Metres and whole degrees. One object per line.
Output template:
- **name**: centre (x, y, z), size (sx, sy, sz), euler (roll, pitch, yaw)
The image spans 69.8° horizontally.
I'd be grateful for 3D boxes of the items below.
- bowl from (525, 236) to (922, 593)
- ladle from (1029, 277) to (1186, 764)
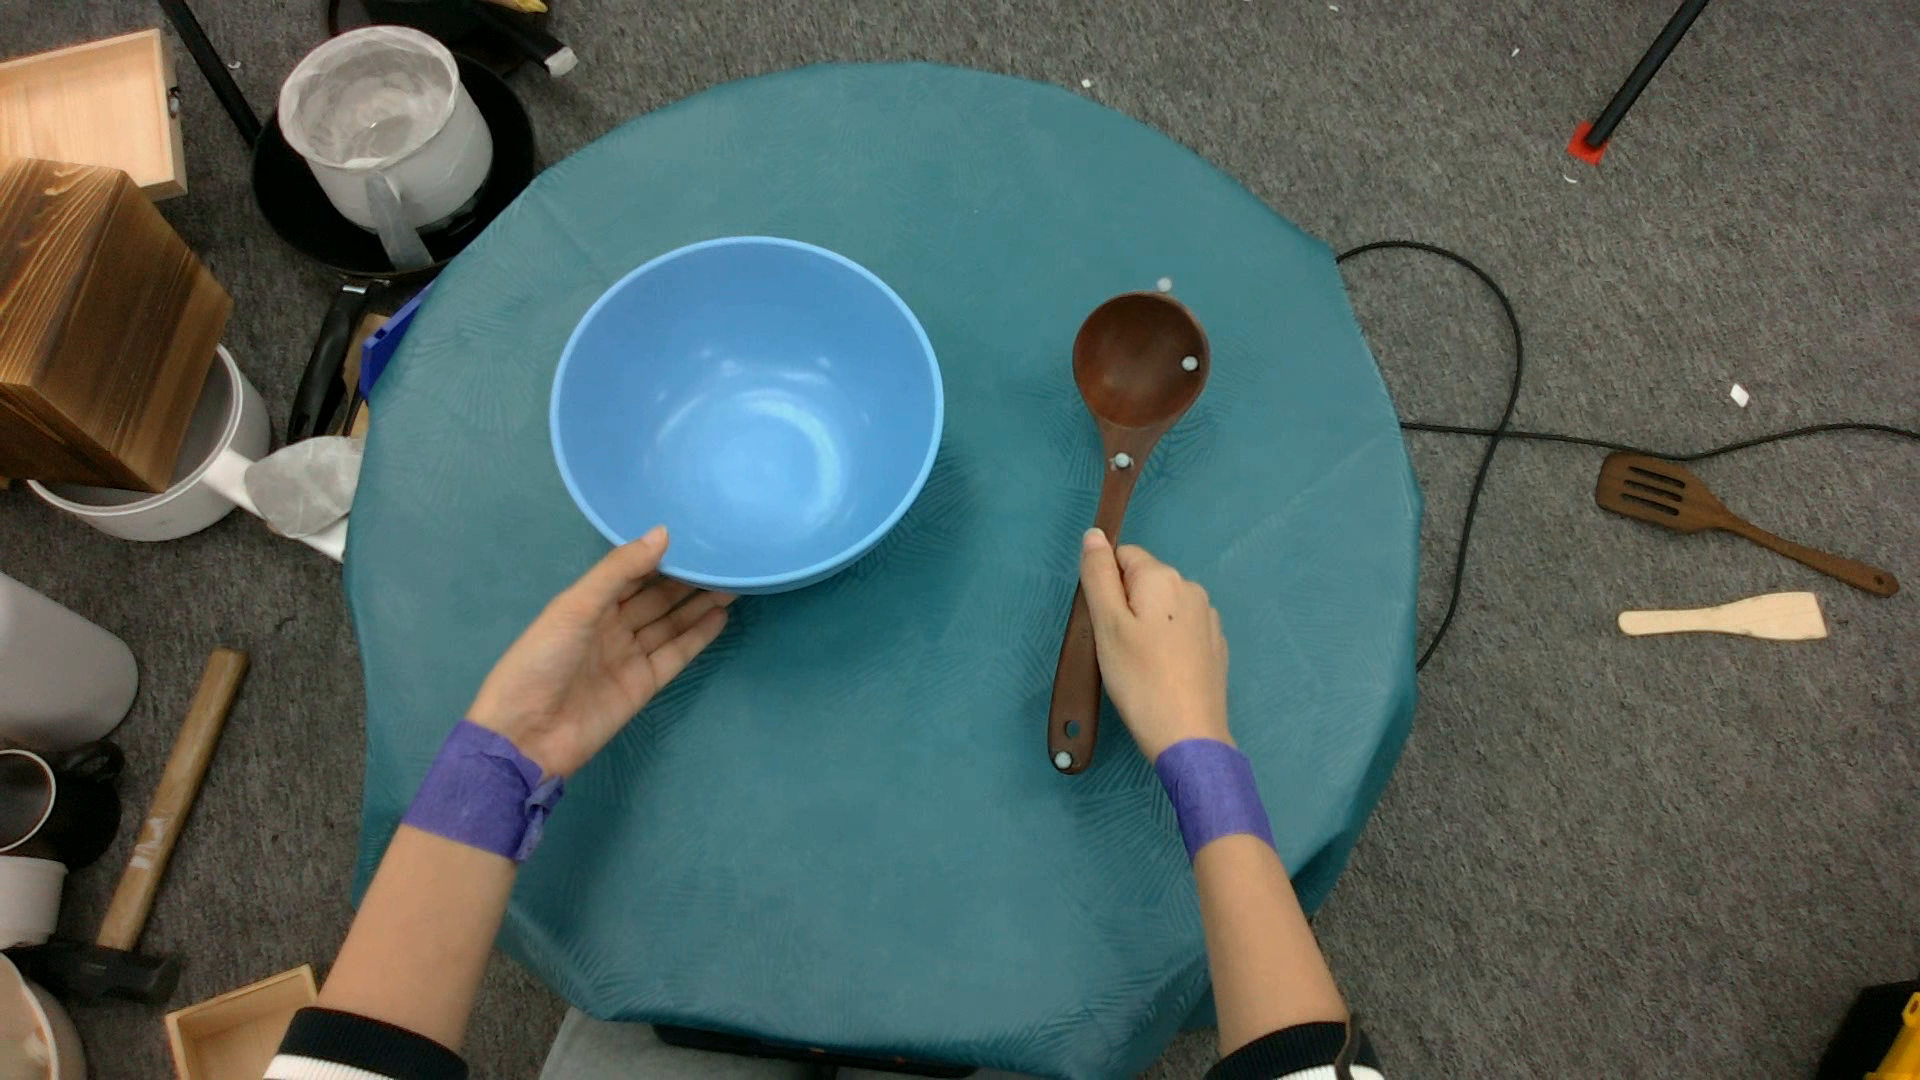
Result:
- **bowl**: centre (-0.123, -0.053, 0.730), size (0.196, 0.095, 0.197), euler (4, 65, -8)
- **ladle**: centre (0.064, -0.016, 0.716), size (0.076, 0.065, 0.261), euler (5, 67, 21)
